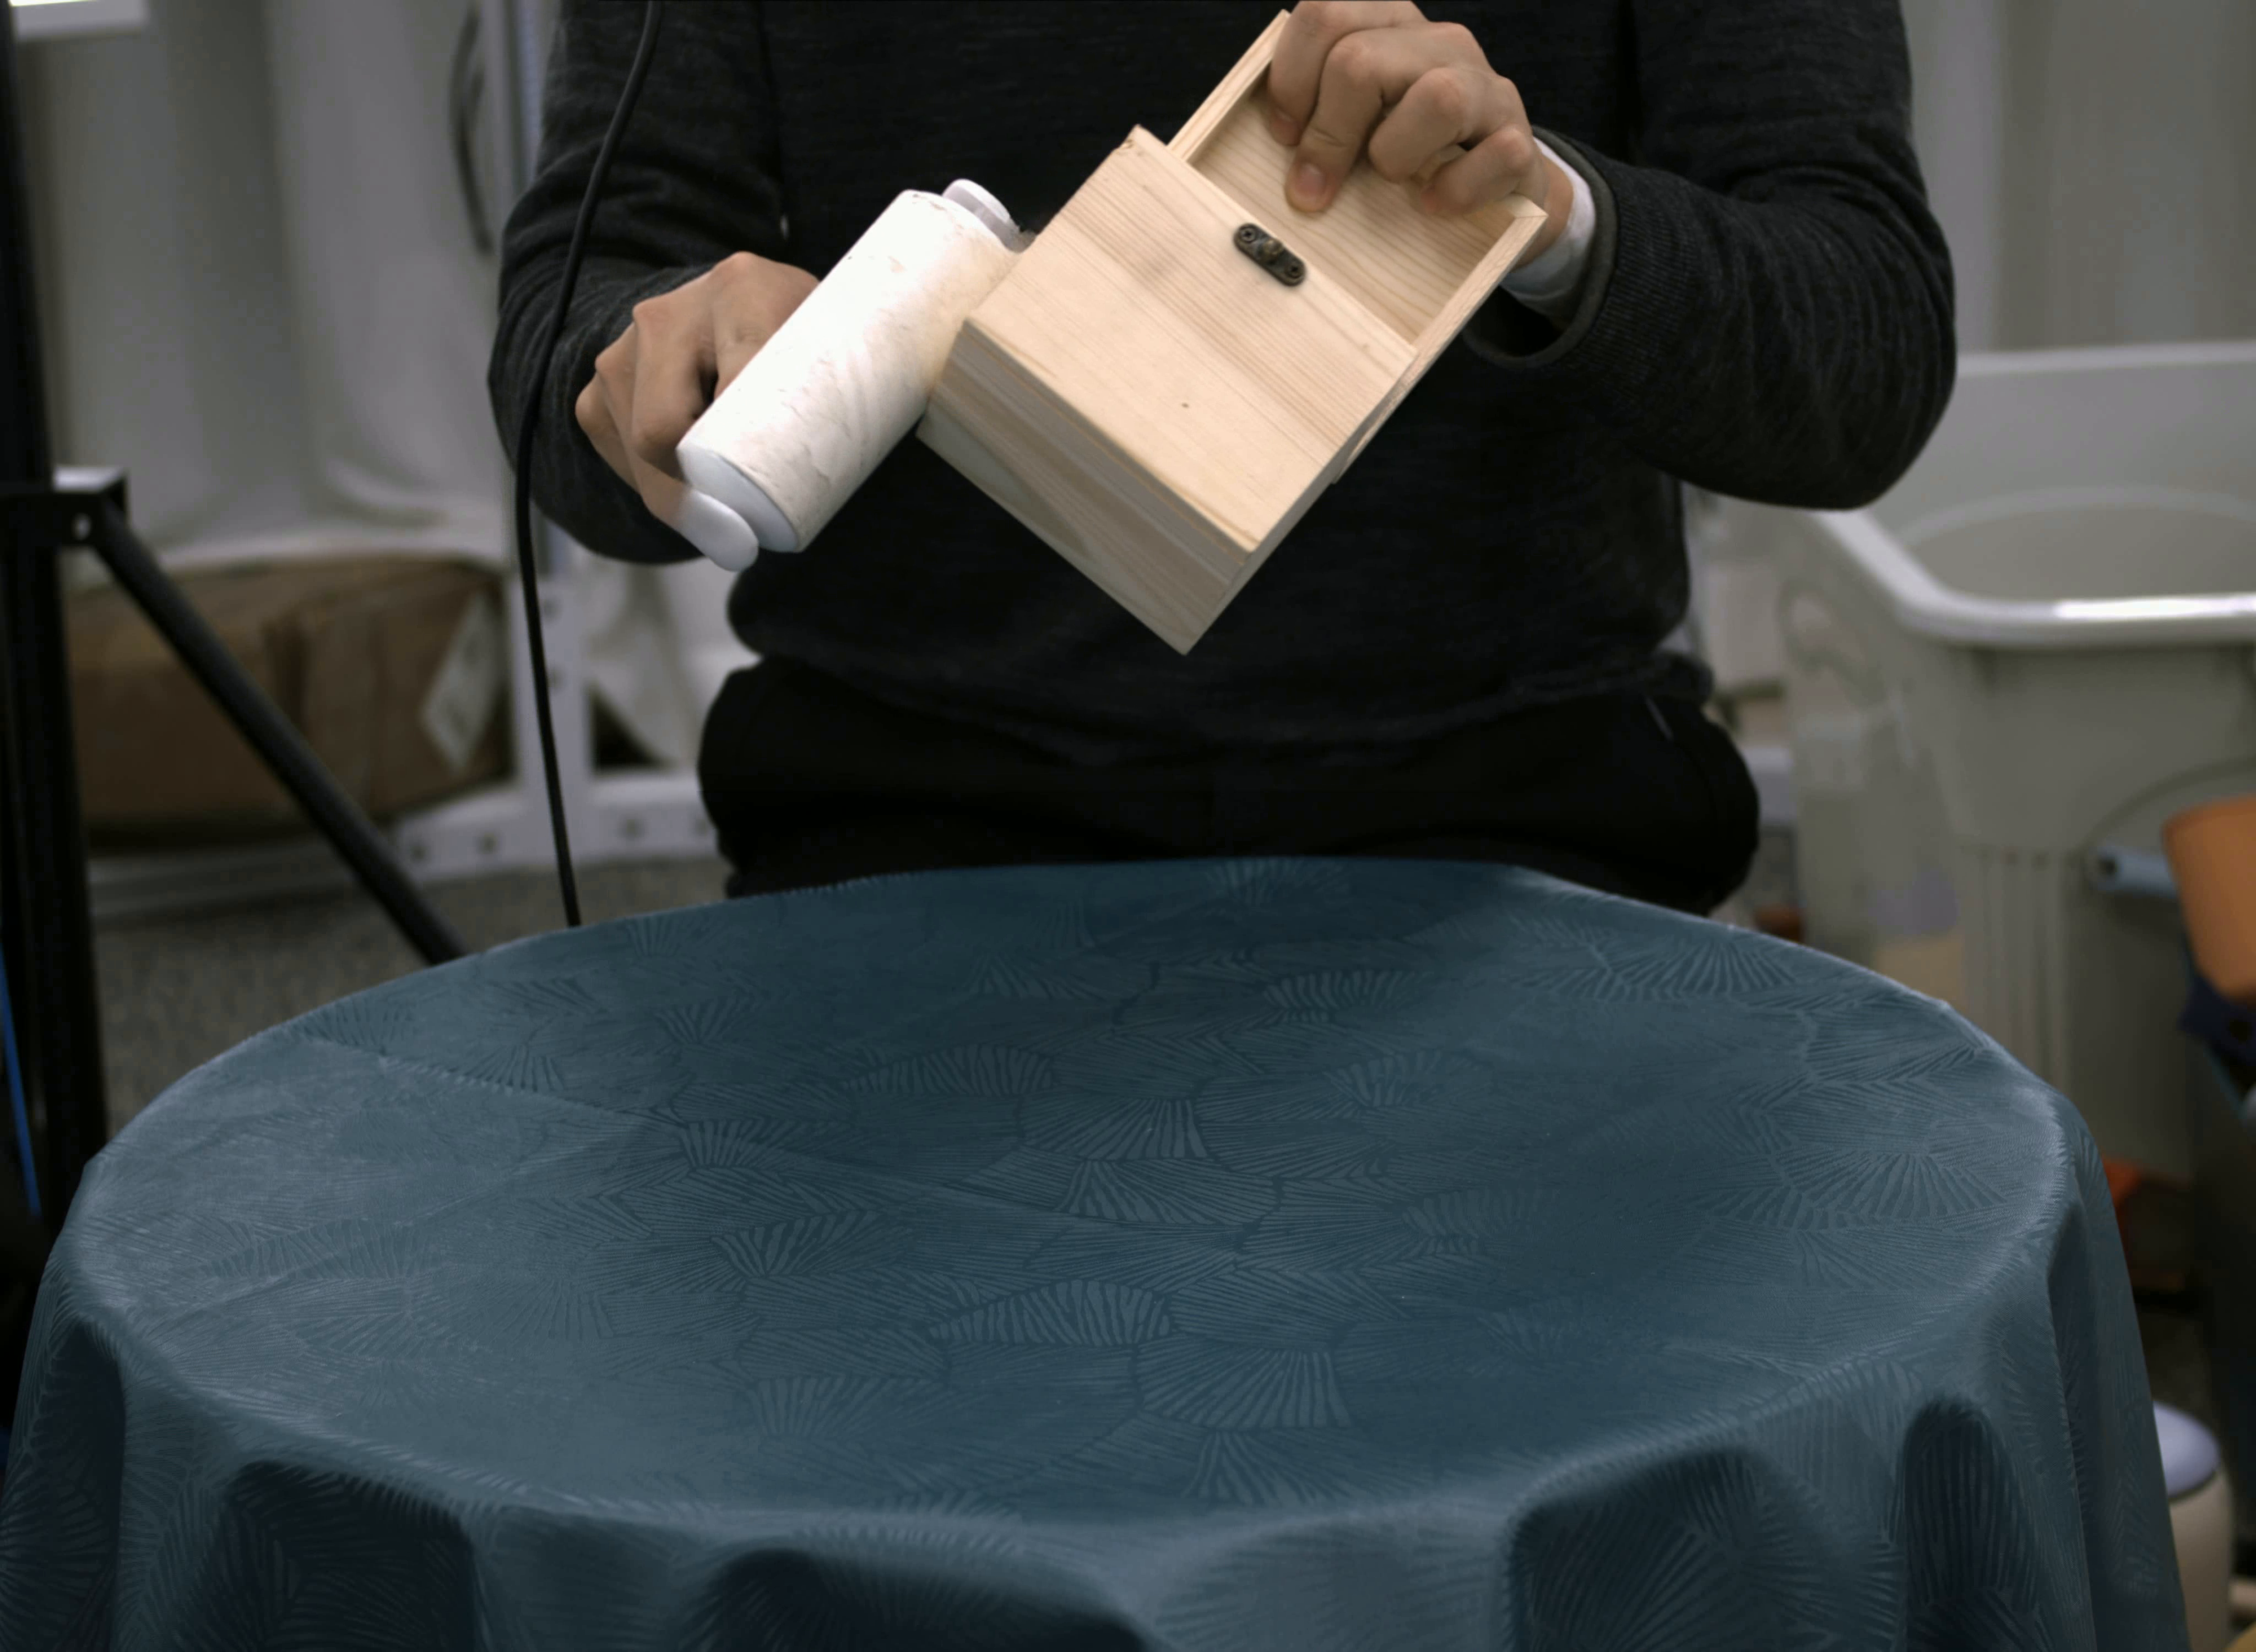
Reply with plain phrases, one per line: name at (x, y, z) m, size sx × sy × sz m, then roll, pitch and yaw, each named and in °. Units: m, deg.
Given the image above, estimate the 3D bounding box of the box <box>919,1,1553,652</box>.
box at (0.040, -0.158, 1.511) m, size 0.183 × 0.103 × 0.134 m, roll -49°, pitch -3°, yaw -17°

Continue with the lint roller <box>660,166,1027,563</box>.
lint roller at (-0.106, -0.136, 1.563) m, size 0.132 × 0.049 × 0.184 m, roll -50°, pitch 24°, yaw -13°
